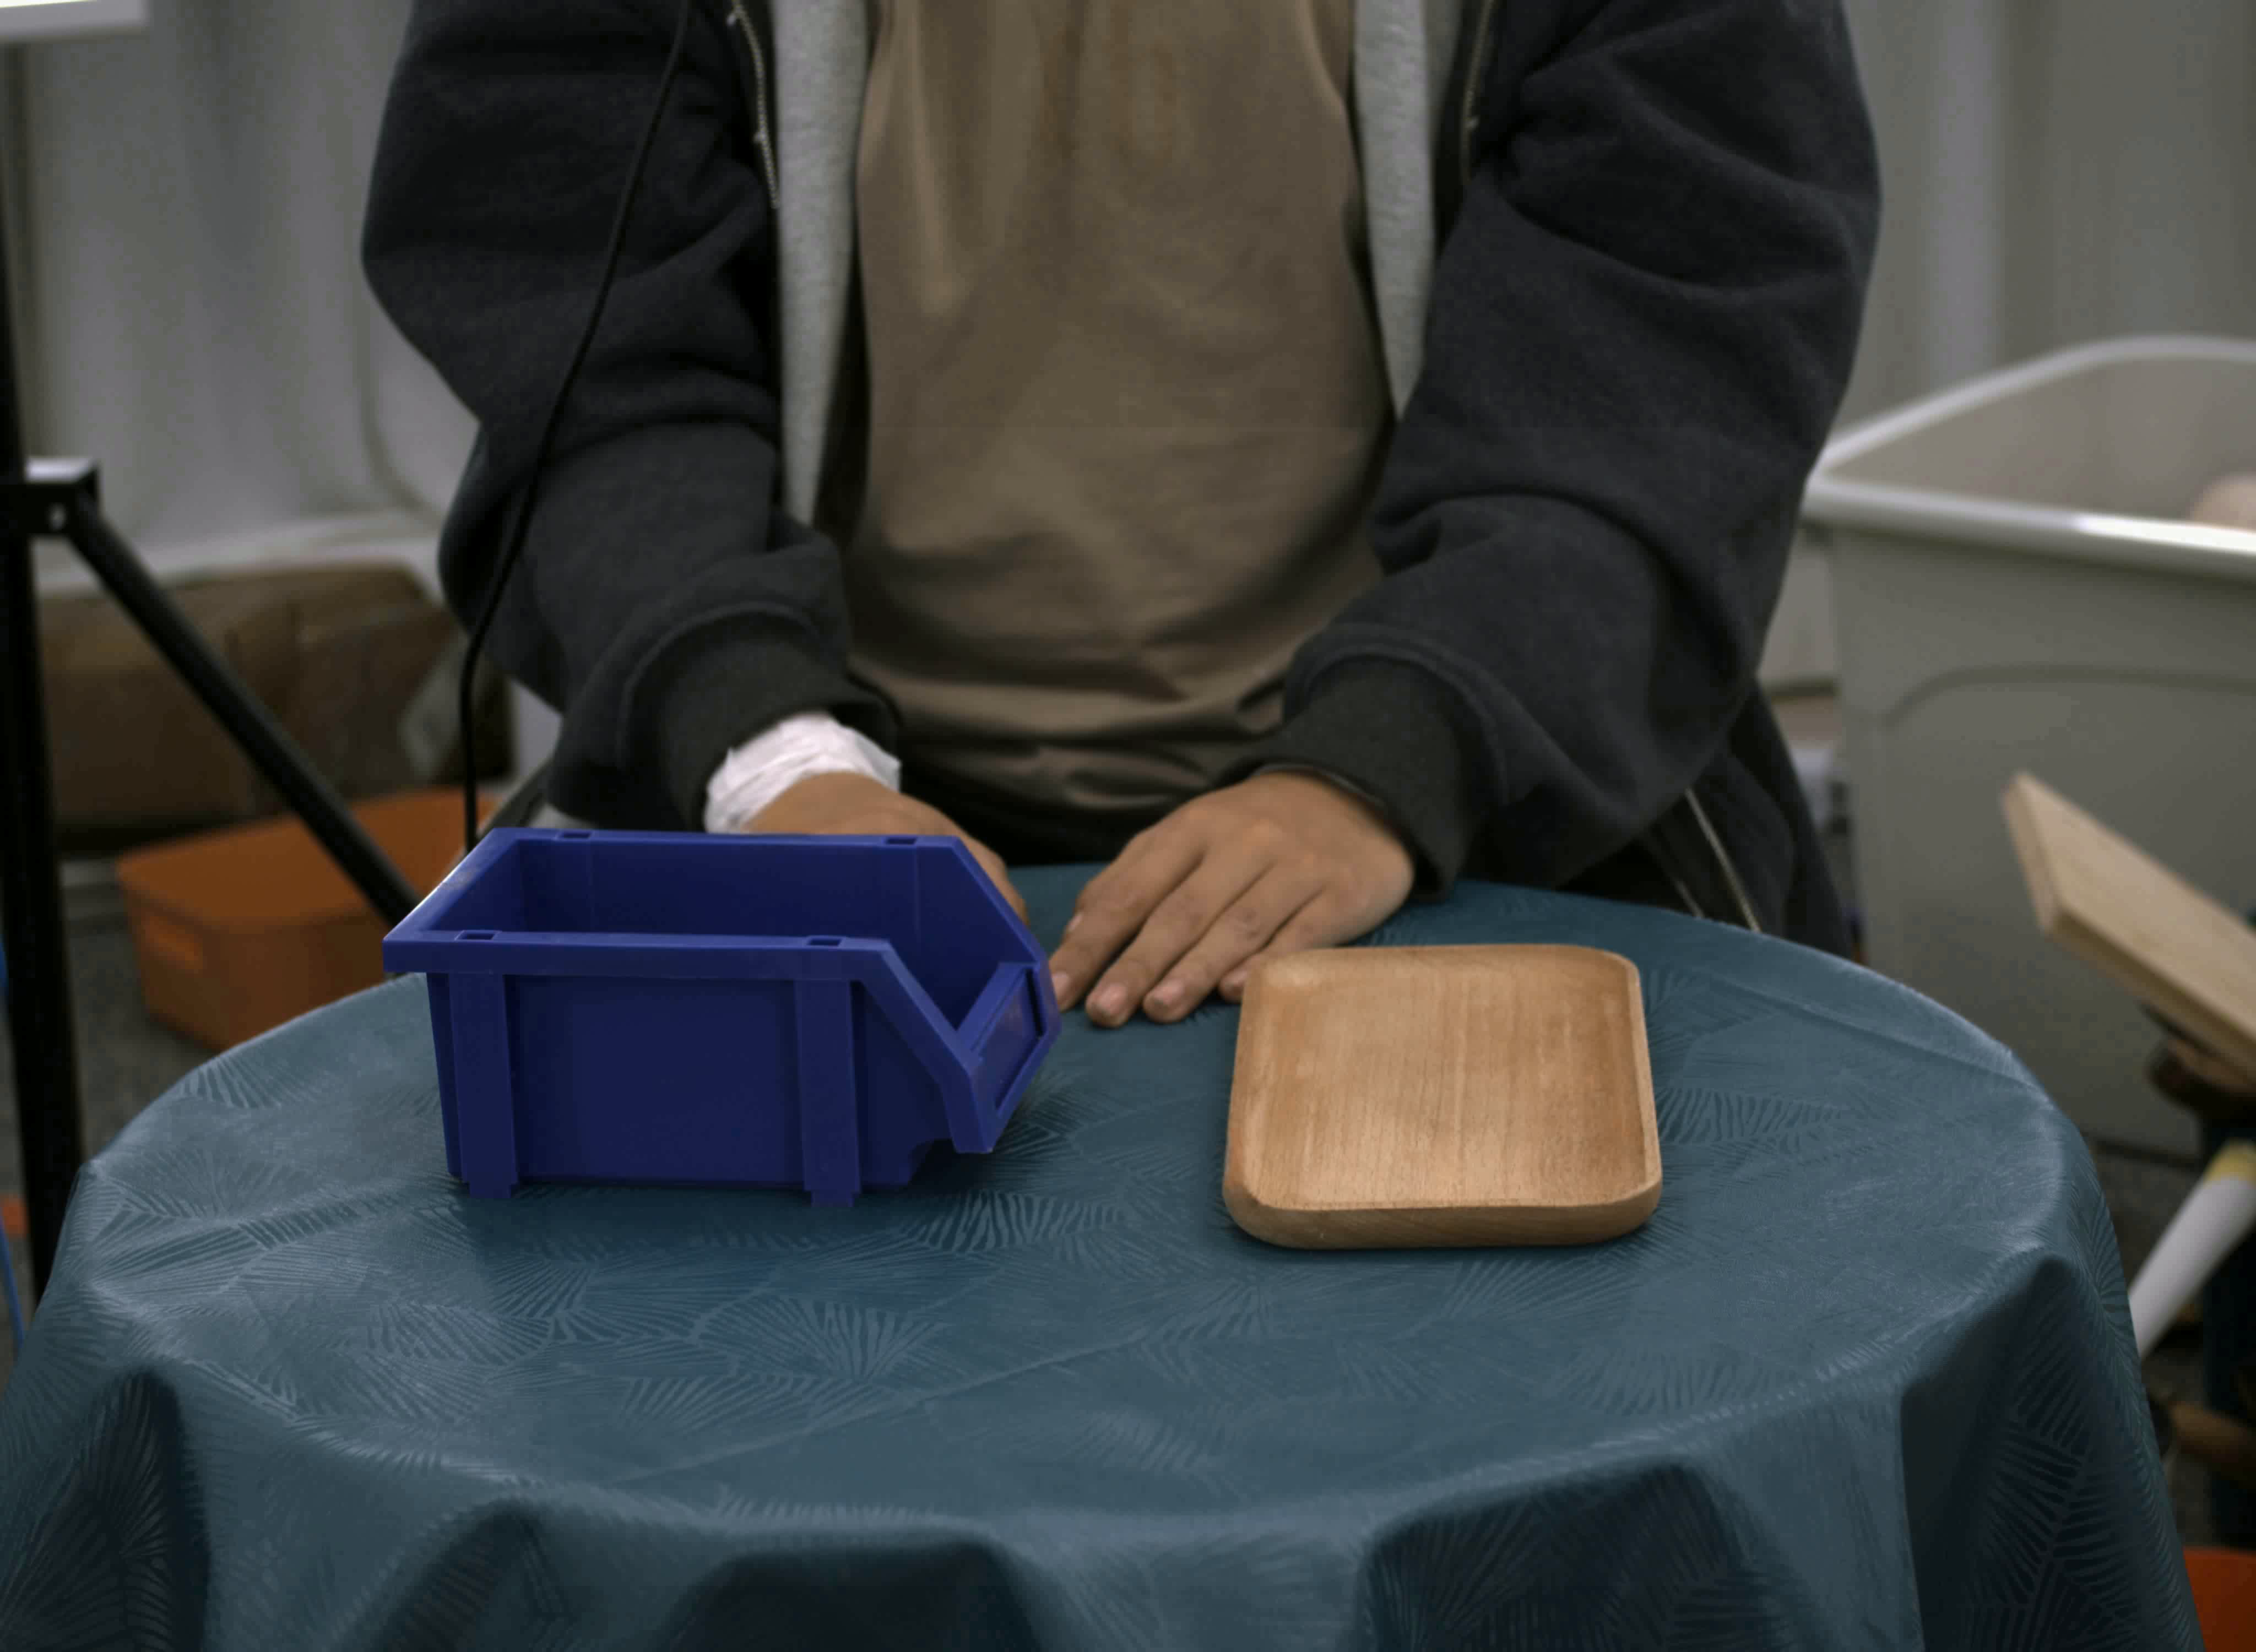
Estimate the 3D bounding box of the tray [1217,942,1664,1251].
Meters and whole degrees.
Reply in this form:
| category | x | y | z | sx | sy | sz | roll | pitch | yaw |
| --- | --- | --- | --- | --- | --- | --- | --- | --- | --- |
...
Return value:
| category | x | y | z | sx | sy | sz | roll | pitch | yaw |
| --- | --- | --- | --- | --- | --- | --- | --- | --- | --- |
| tray | 0.094 | 0.080 | 1.612 | 0.130 | 0.023 | 0.251 | 1 | 15 | 4 |

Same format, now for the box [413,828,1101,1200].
| category | x | y | z | sx | sy | sz | roll | pitch | yaw |
| --- | --- | --- | --- | --- | --- | --- | --- | --- | --- |
| box | -0.108 | 0.055 | 1.615 | 0.180 | 0.082 | 0.123 | -2 | 15 | 15 |
